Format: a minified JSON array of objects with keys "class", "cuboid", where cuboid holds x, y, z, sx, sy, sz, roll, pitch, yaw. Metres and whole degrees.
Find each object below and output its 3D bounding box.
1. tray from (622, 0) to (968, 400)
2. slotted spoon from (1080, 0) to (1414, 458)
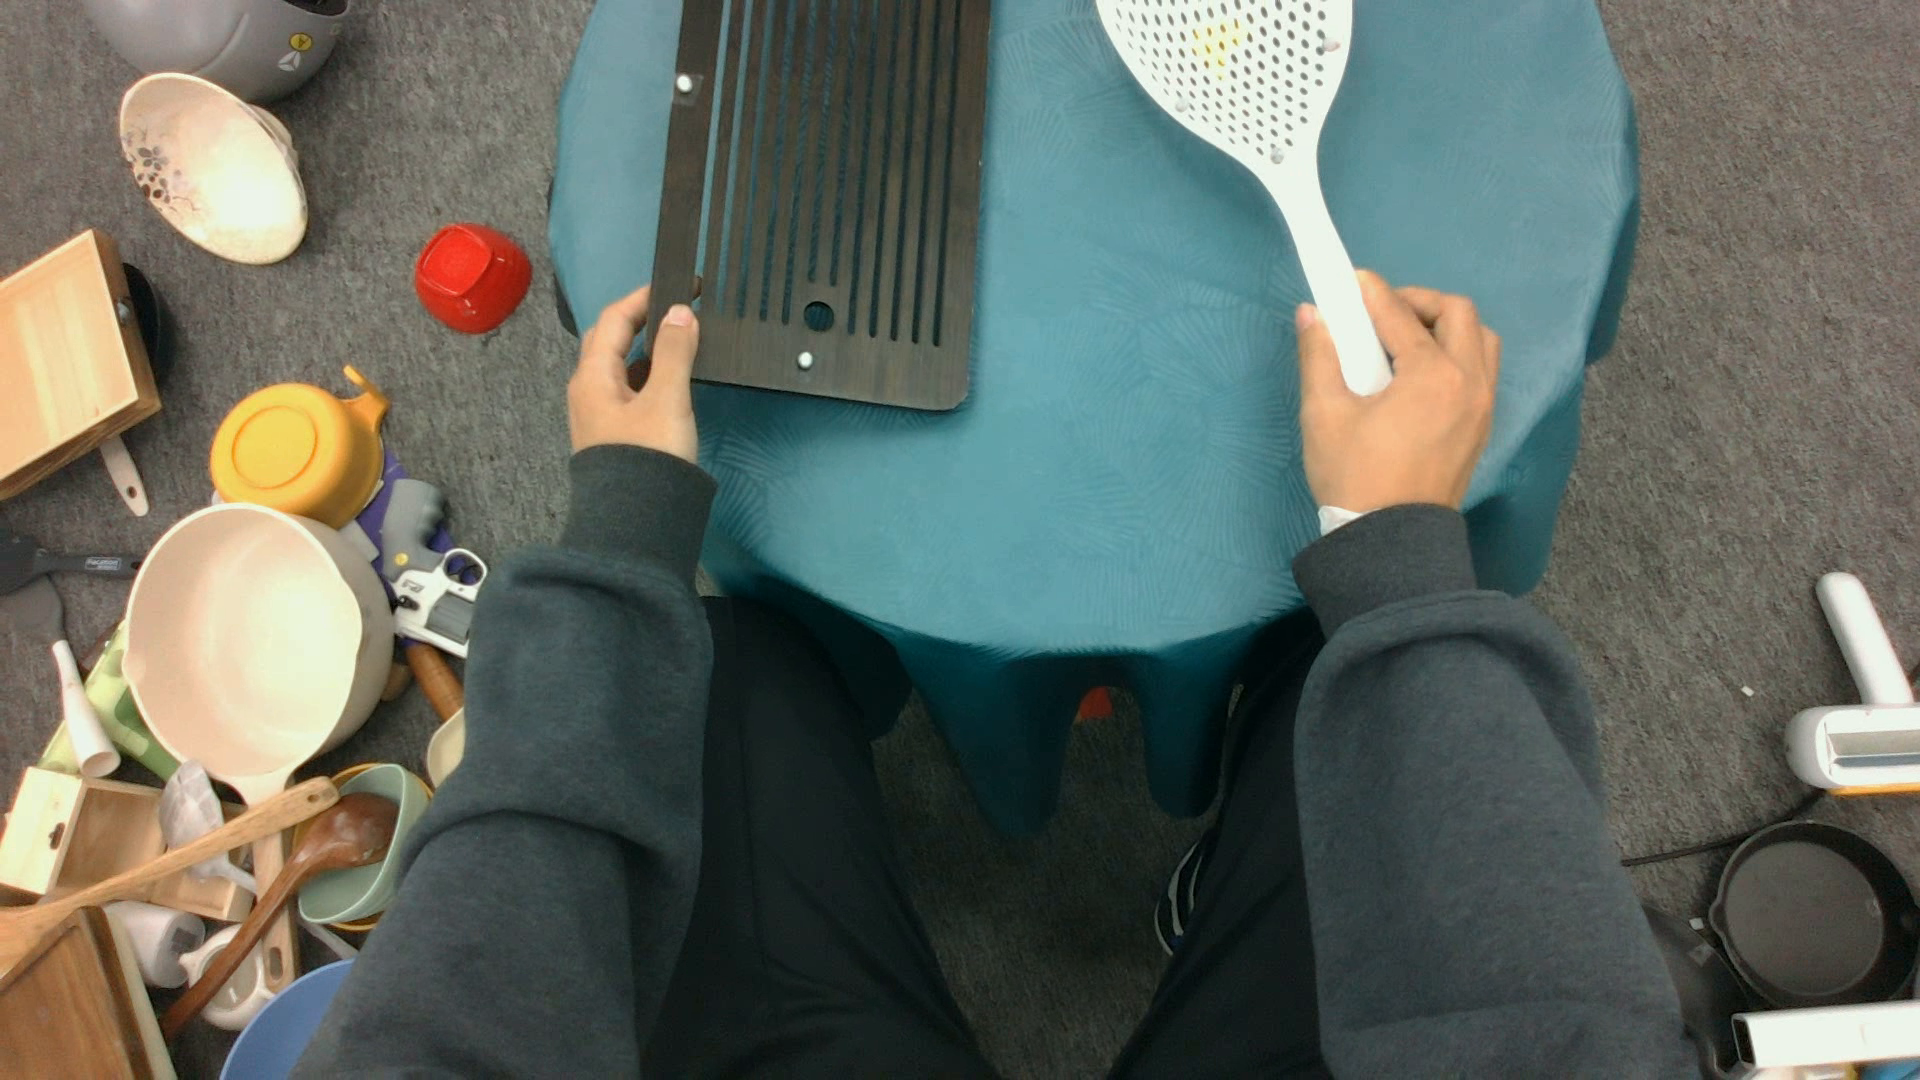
[{"class":"tray","cuboid":[-0.084,-0.229,0.752,0.170,0.018,0.306,6,76,-12]},{"class":"slotted spoon","cuboid":[0.162,-0.203,0.723,0.137,0.050,0.349,-16,69,-3]}]
